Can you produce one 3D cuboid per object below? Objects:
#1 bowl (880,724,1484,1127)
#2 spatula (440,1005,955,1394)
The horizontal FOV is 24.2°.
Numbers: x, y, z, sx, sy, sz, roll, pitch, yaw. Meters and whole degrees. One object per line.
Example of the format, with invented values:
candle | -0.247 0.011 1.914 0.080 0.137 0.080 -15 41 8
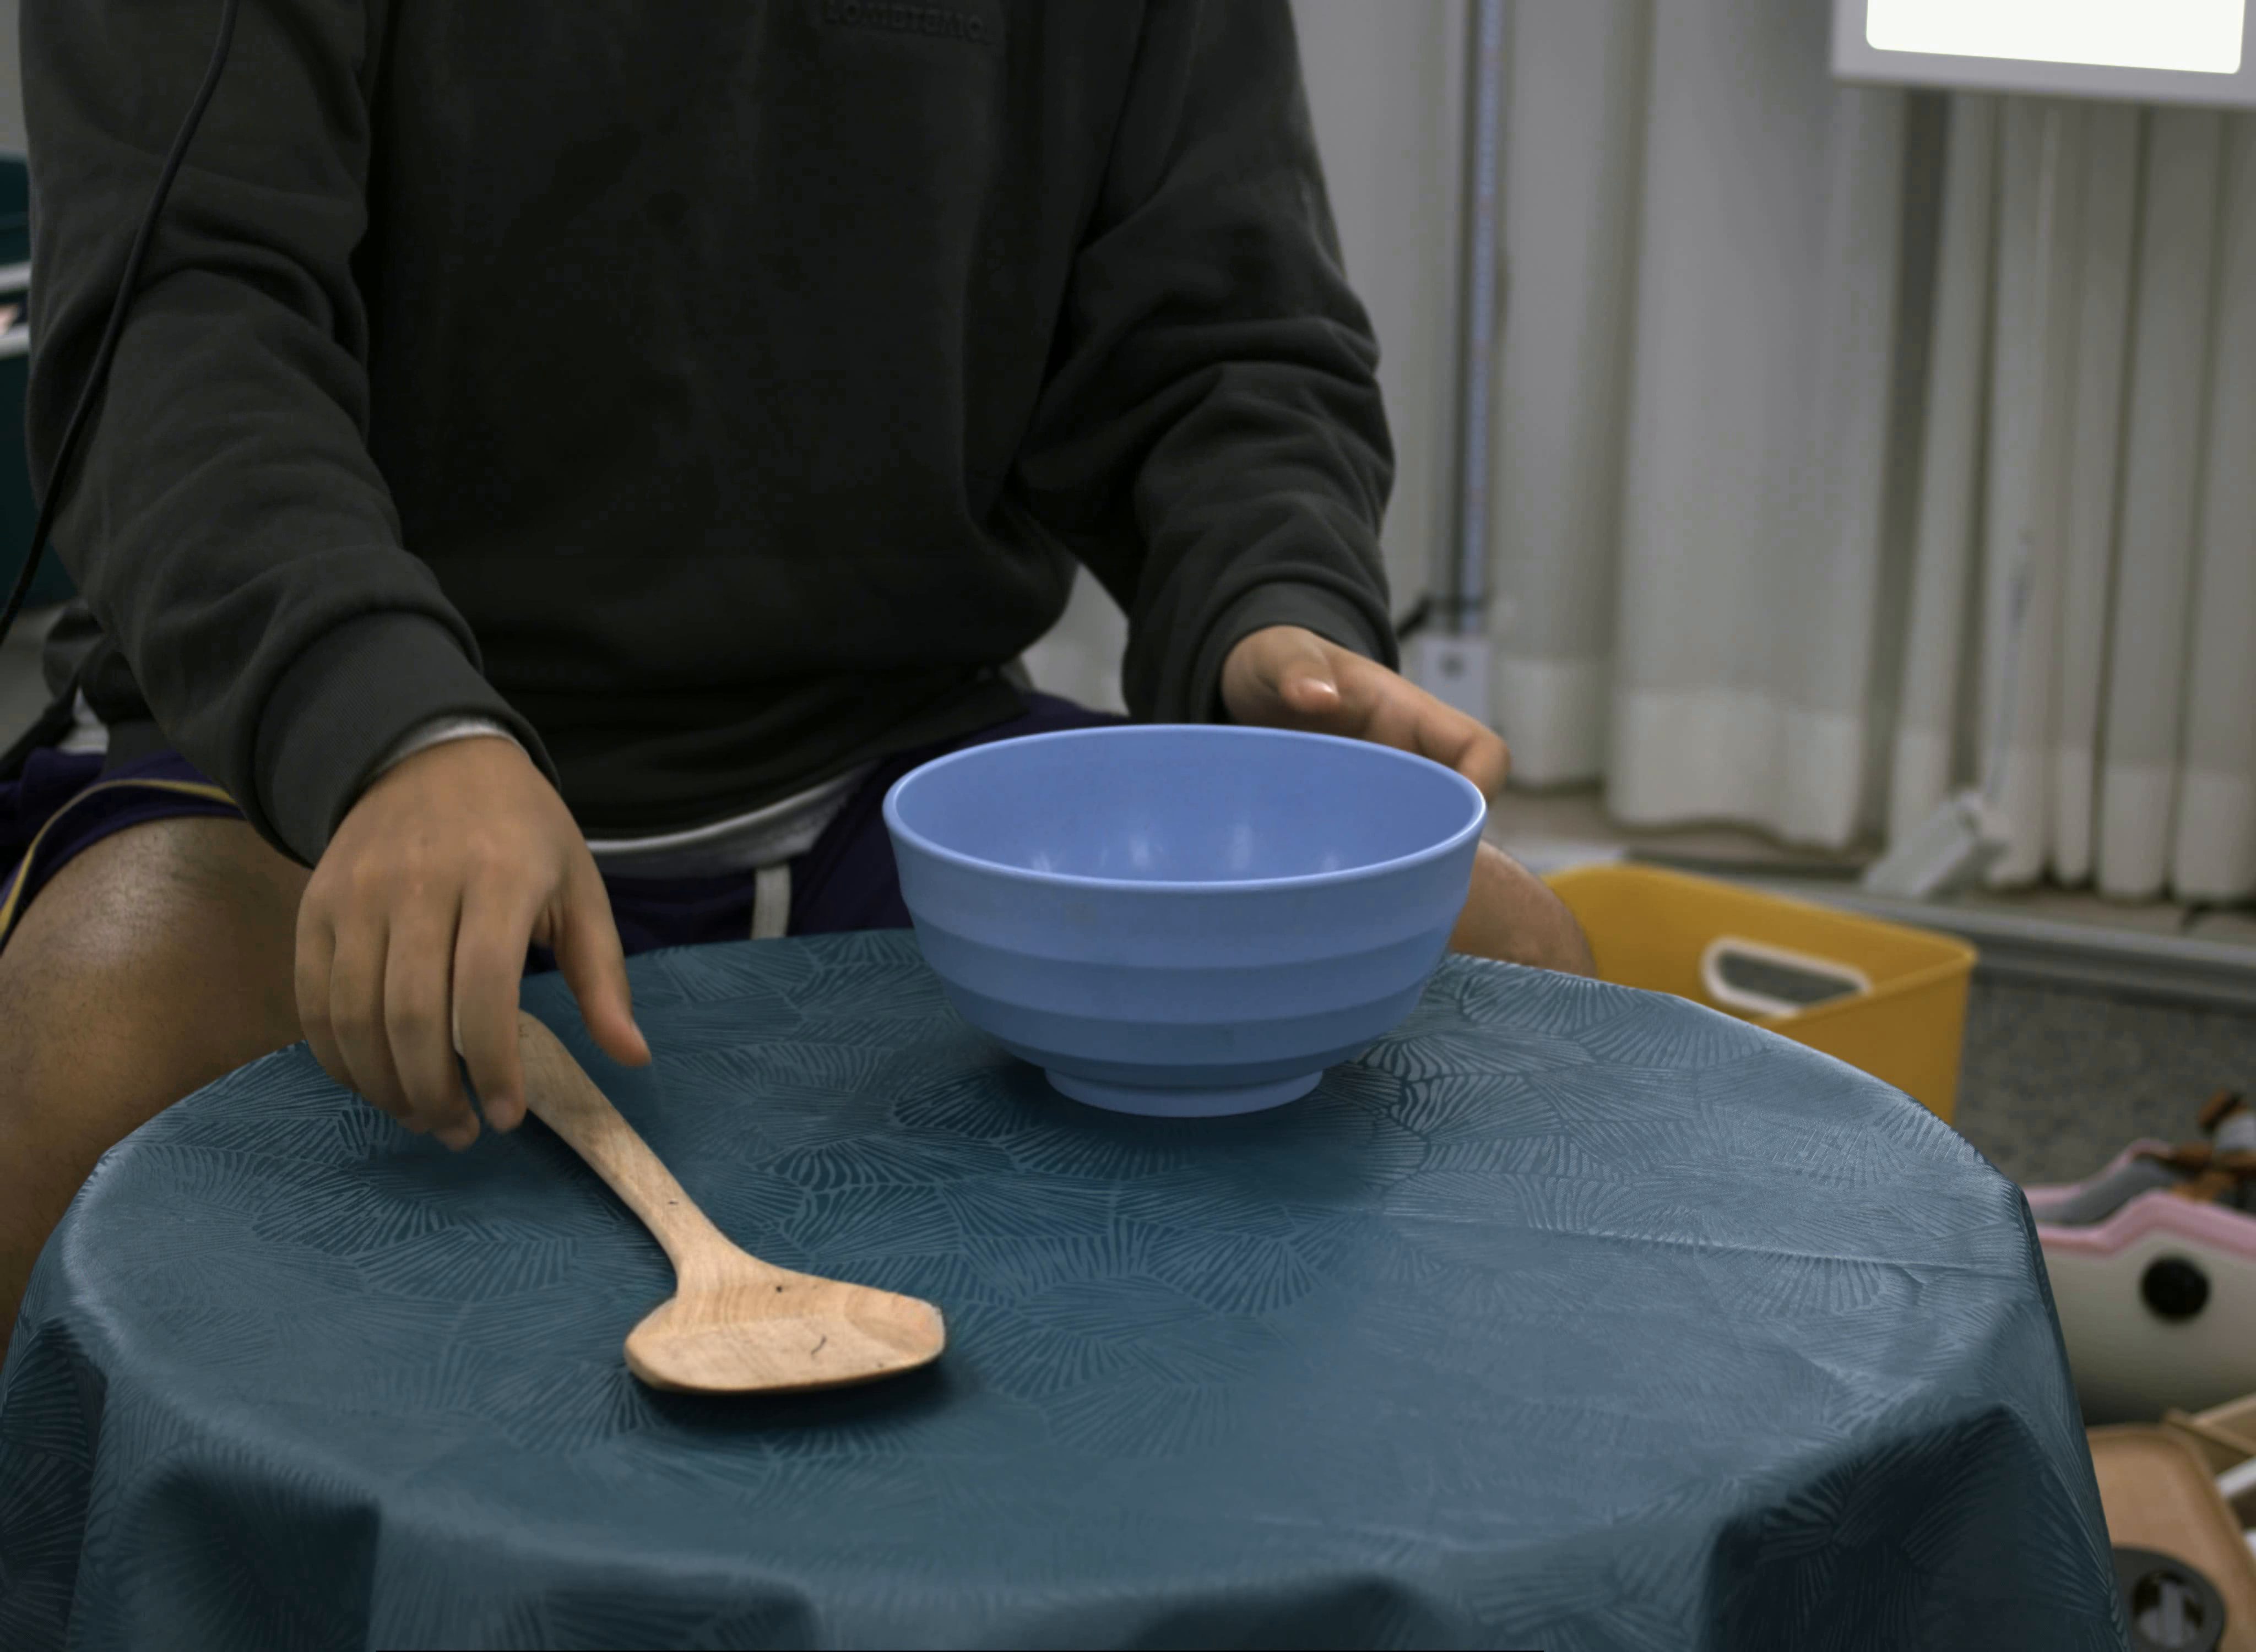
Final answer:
bowl | 0.019 0.038 1.722 0.196 0.096 0.195 -1 18 1
spatula | -0.155 0.108 1.600 0.096 0.018 0.386 -4 16 -22
